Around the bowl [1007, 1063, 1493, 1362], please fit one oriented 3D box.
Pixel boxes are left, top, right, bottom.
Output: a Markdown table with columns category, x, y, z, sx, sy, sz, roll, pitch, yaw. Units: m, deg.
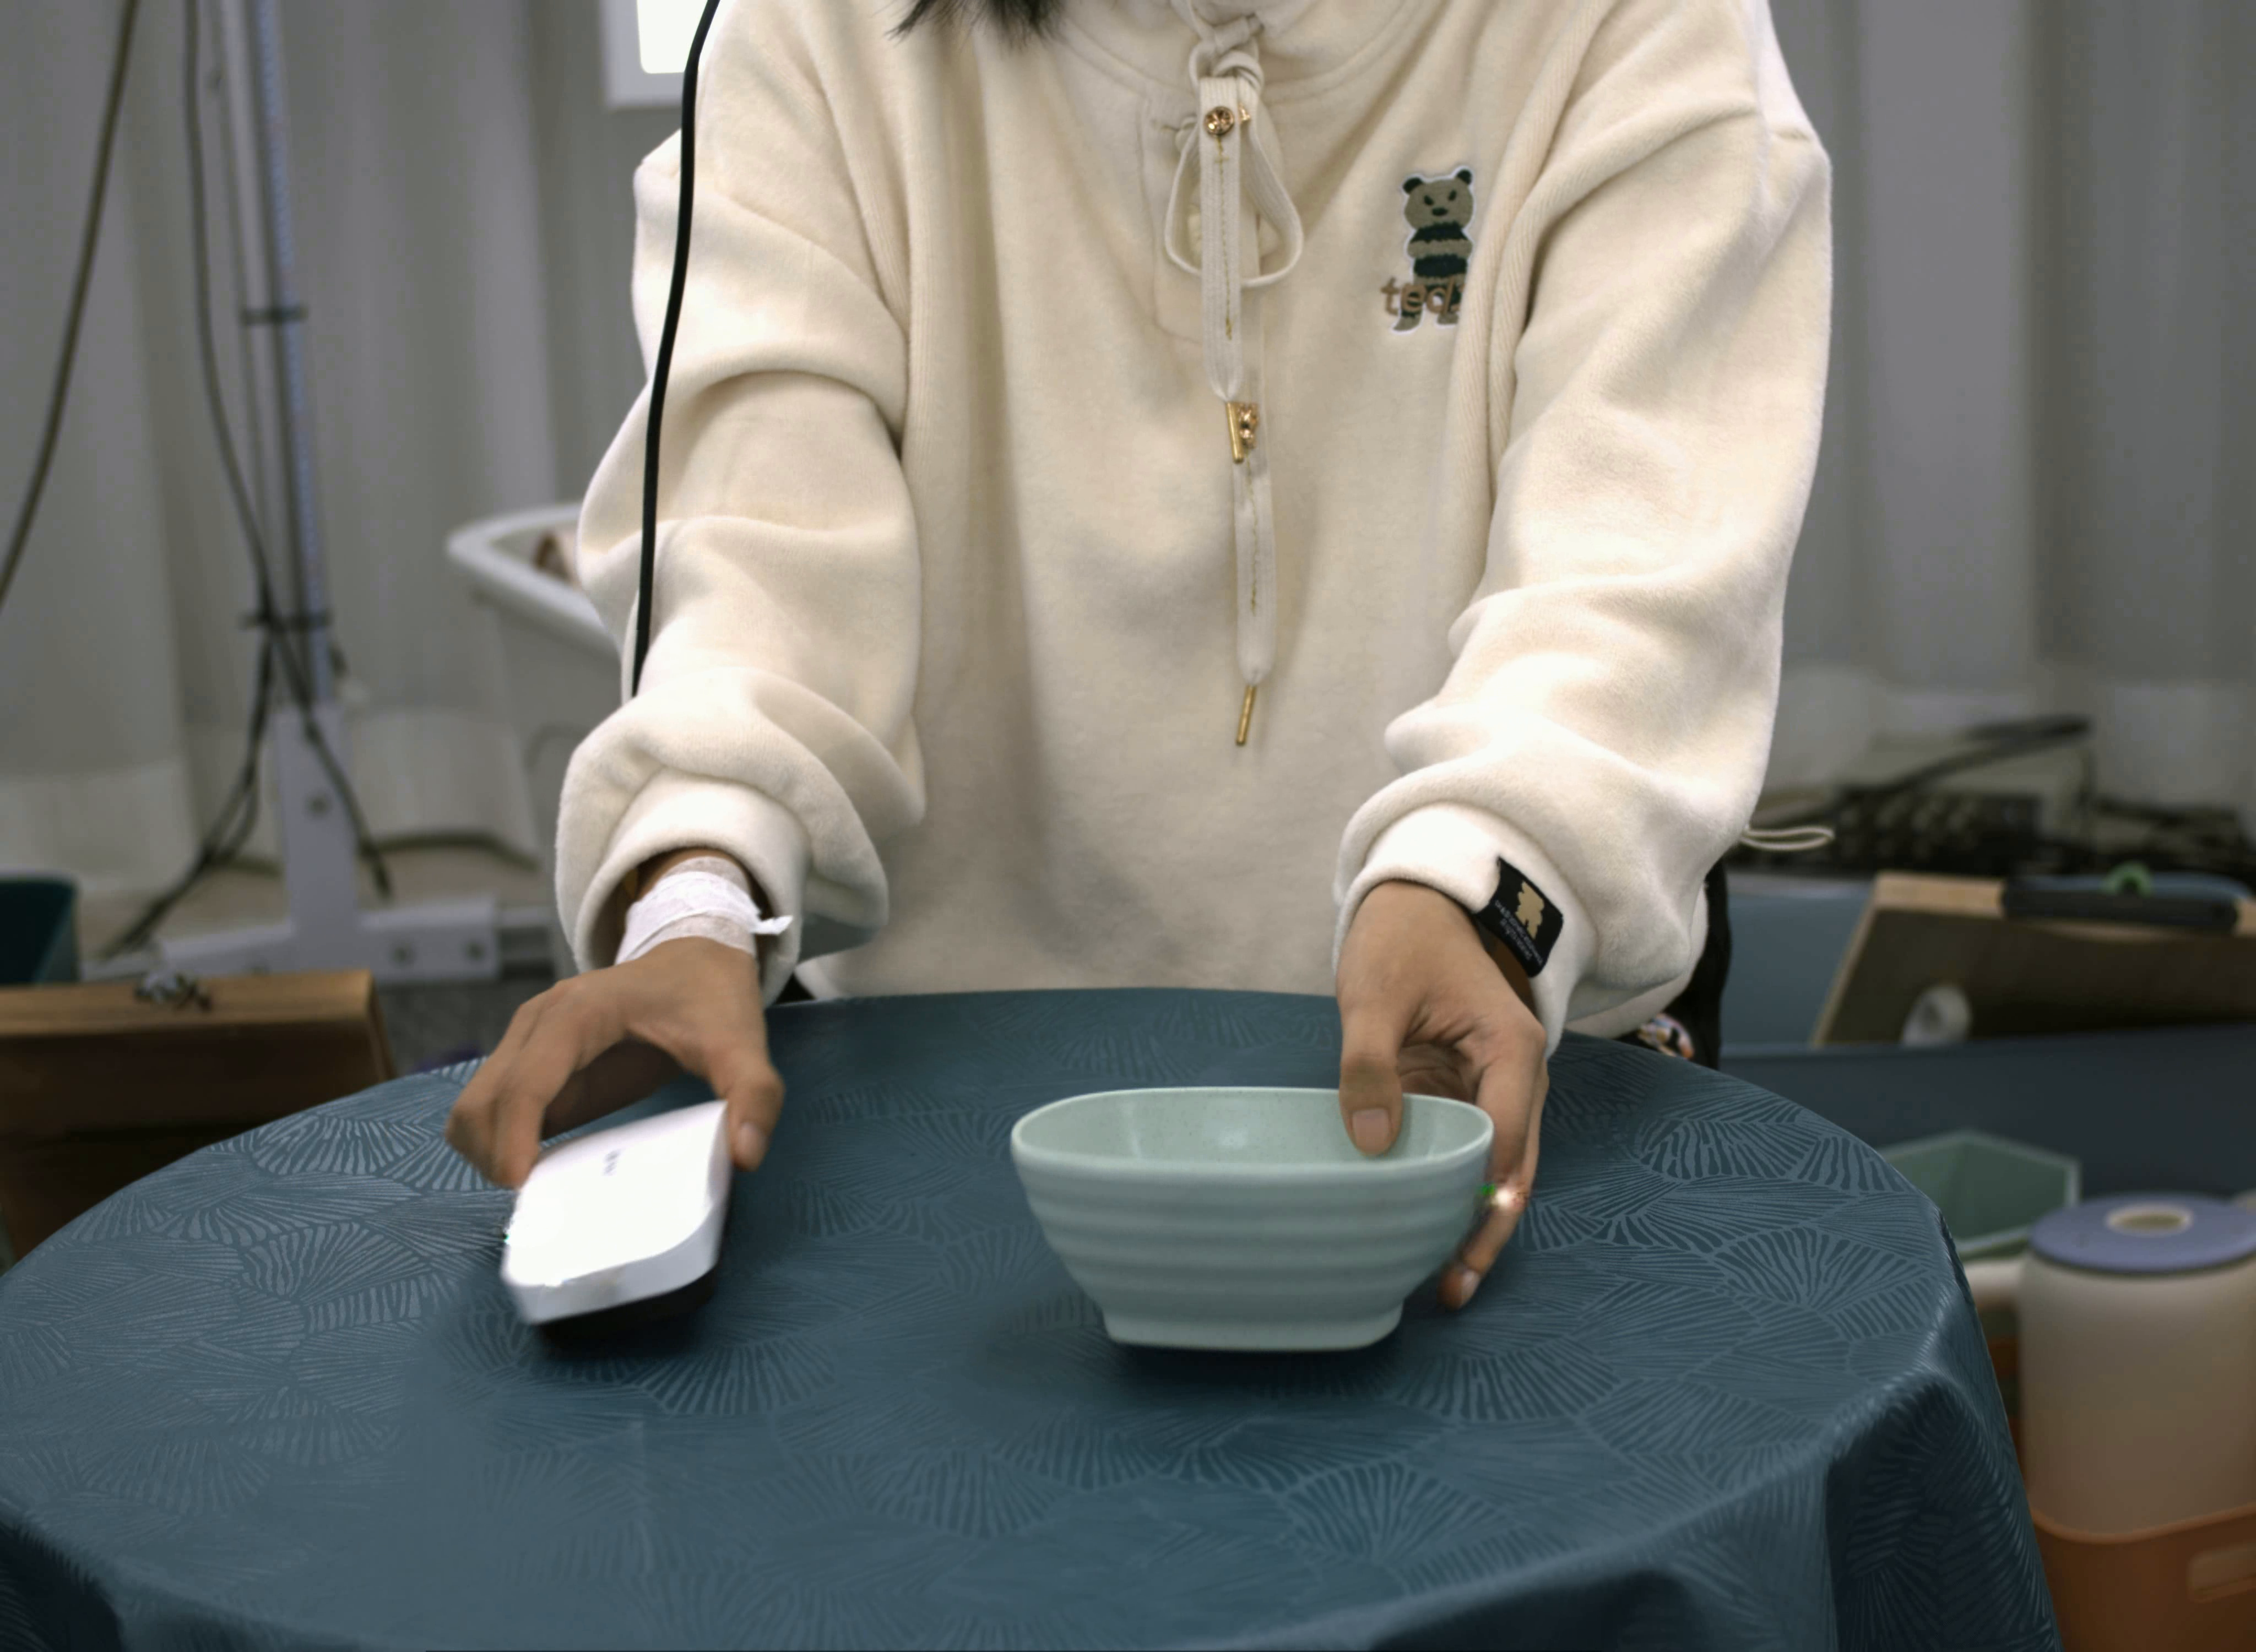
| category | x | y | z | sx | sy | sz | roll | pitch | yaw |
| --- | --- | --- | --- | --- | --- | --- | --- | --- | --- |
| bowl | 0.034 | 0.114 | 1.574 | 0.151 | 0.058 | 0.152 | 2 | 11 | -1 |

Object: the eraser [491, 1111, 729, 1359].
| category | x | y | z | sx | sy | sz | roll | pitch | yaw |
| --- | --- | --- | --- | --- | --- | --- | --- | --- | --- |
| eraser | -0.152 | 0.118 | 1.640 | 0.063 | 0.034 | 0.132 | -13 | 16 | 5 |
